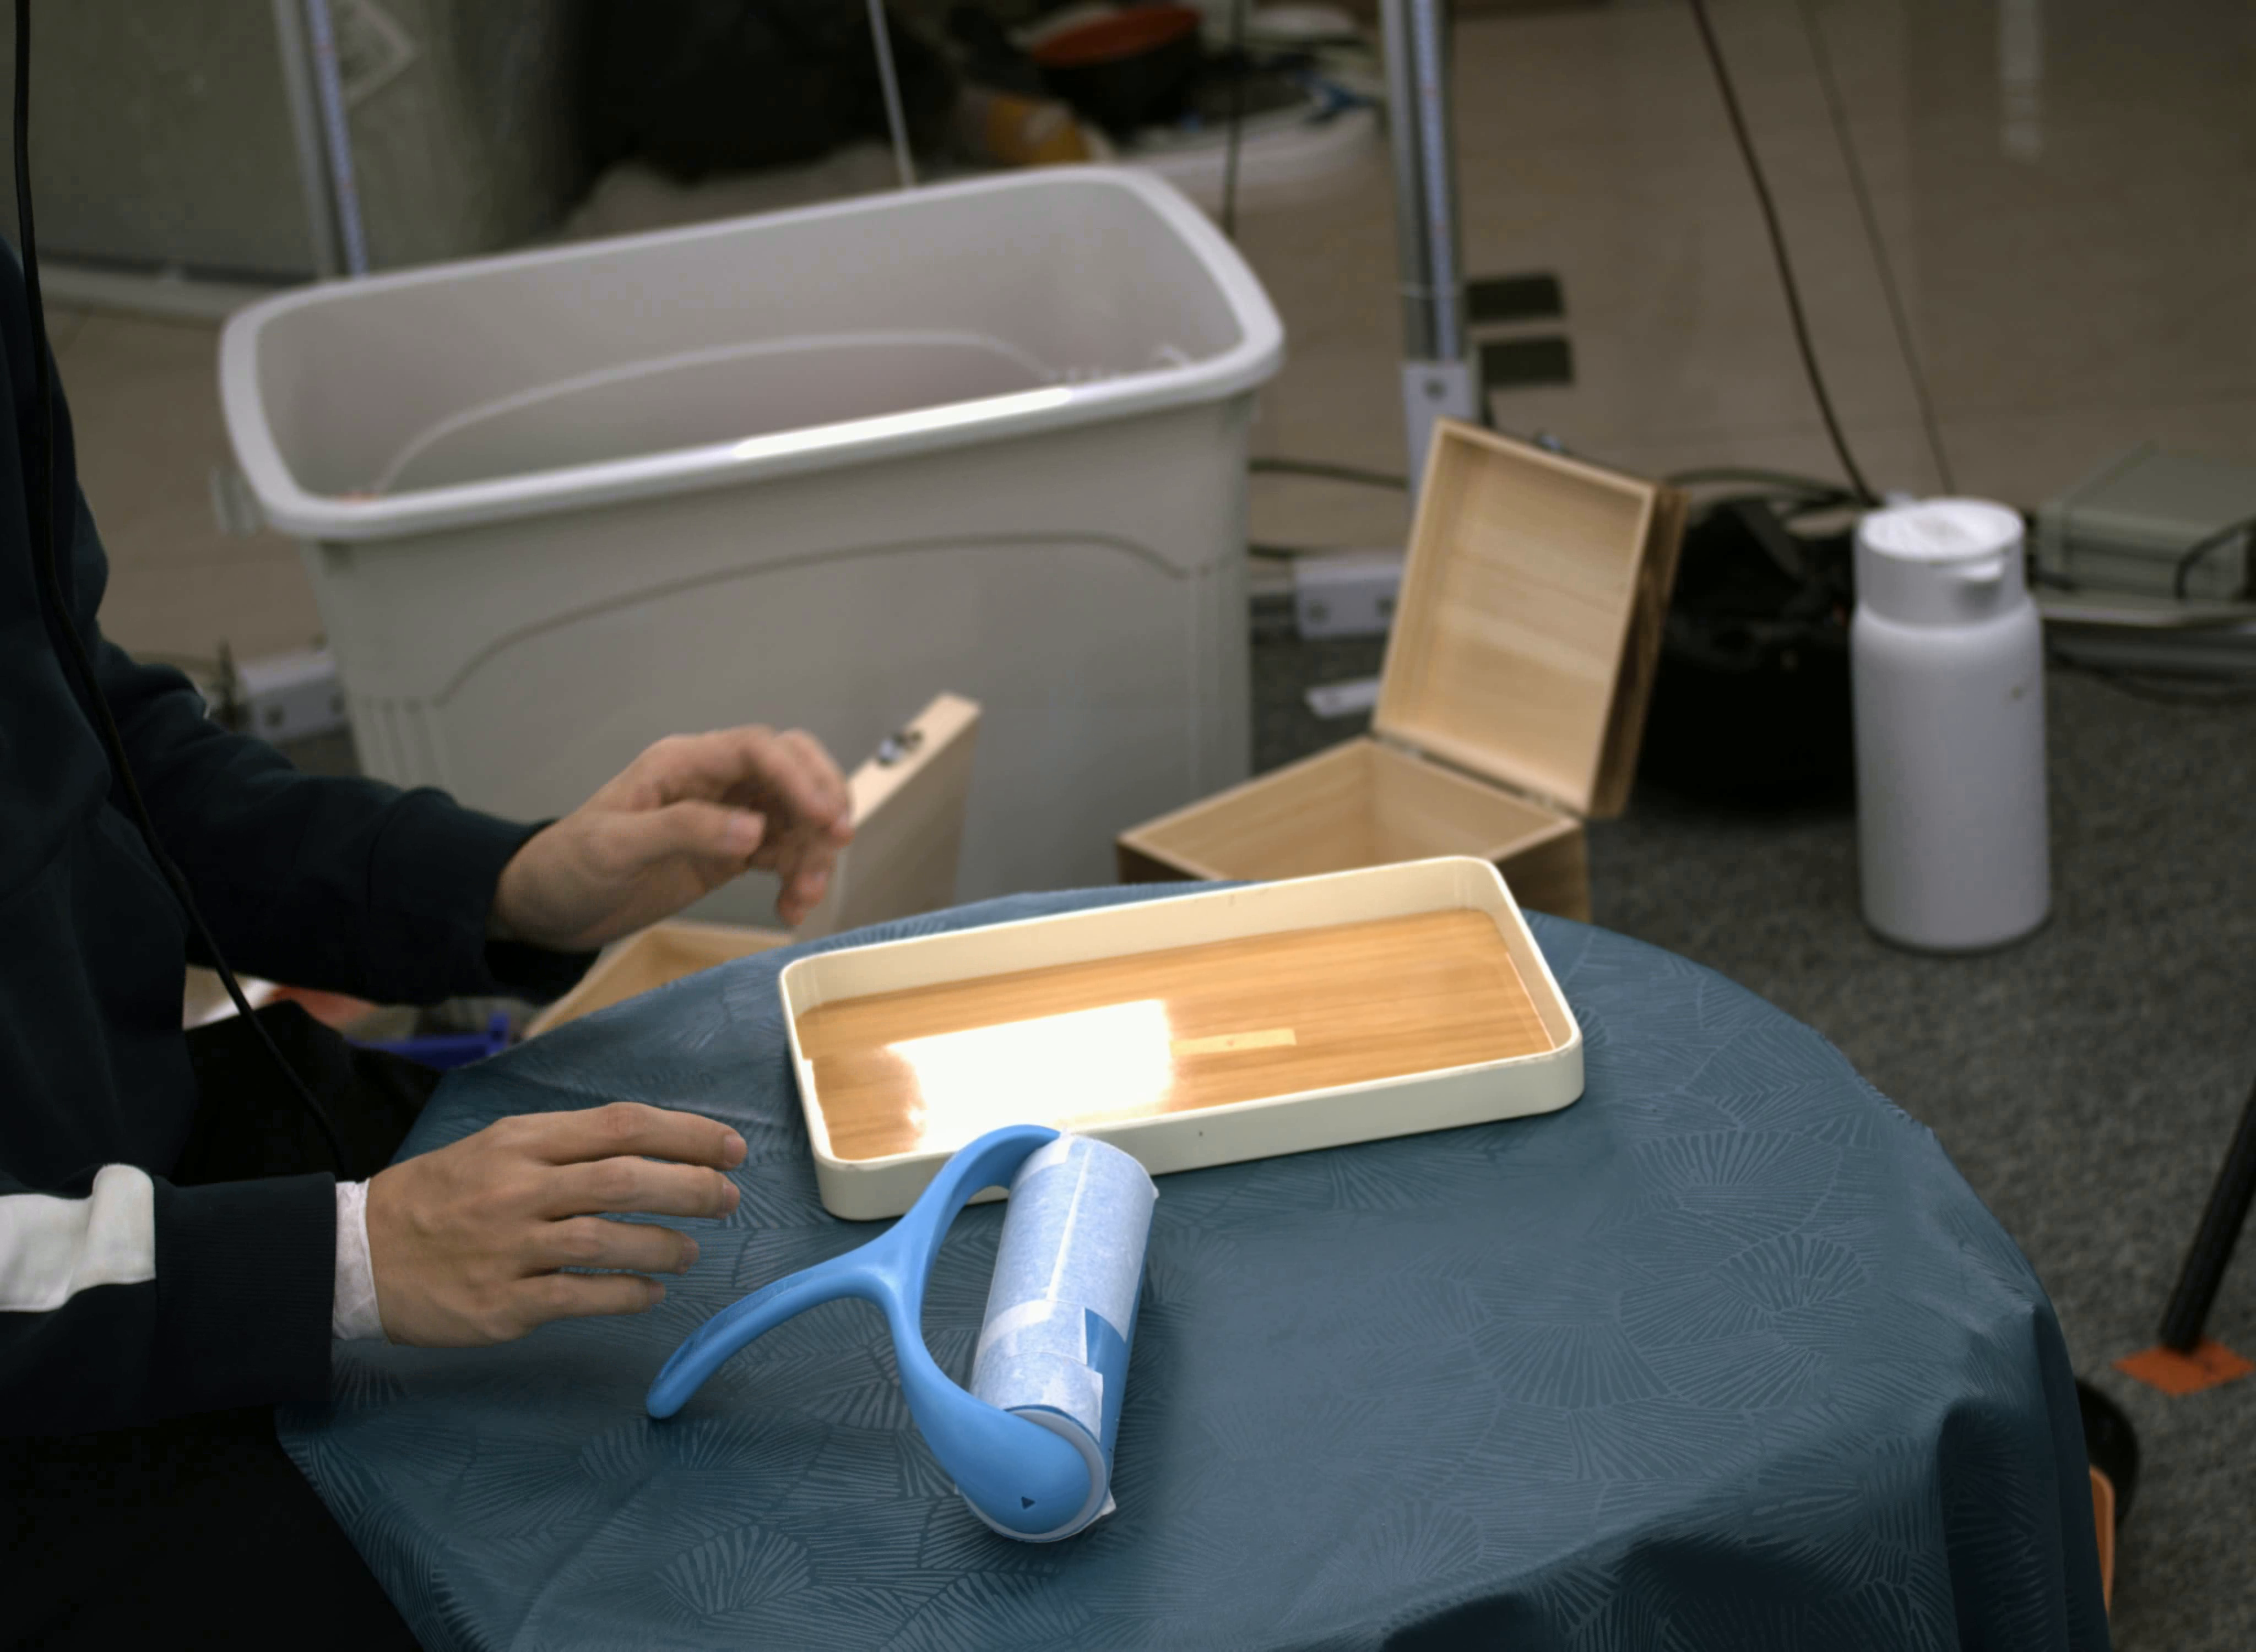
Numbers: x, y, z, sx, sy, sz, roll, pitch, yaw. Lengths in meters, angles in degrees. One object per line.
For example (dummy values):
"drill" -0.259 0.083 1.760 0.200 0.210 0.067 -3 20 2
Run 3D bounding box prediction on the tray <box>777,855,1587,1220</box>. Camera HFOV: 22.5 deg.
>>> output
"tray" 0.018 0.081 2.232 0.300 0.028 0.189 -9 25 -5

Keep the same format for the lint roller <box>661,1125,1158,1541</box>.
"lint roller" -0.080 0.182 2.006 0.180 0.069 0.225 -4 27 3
